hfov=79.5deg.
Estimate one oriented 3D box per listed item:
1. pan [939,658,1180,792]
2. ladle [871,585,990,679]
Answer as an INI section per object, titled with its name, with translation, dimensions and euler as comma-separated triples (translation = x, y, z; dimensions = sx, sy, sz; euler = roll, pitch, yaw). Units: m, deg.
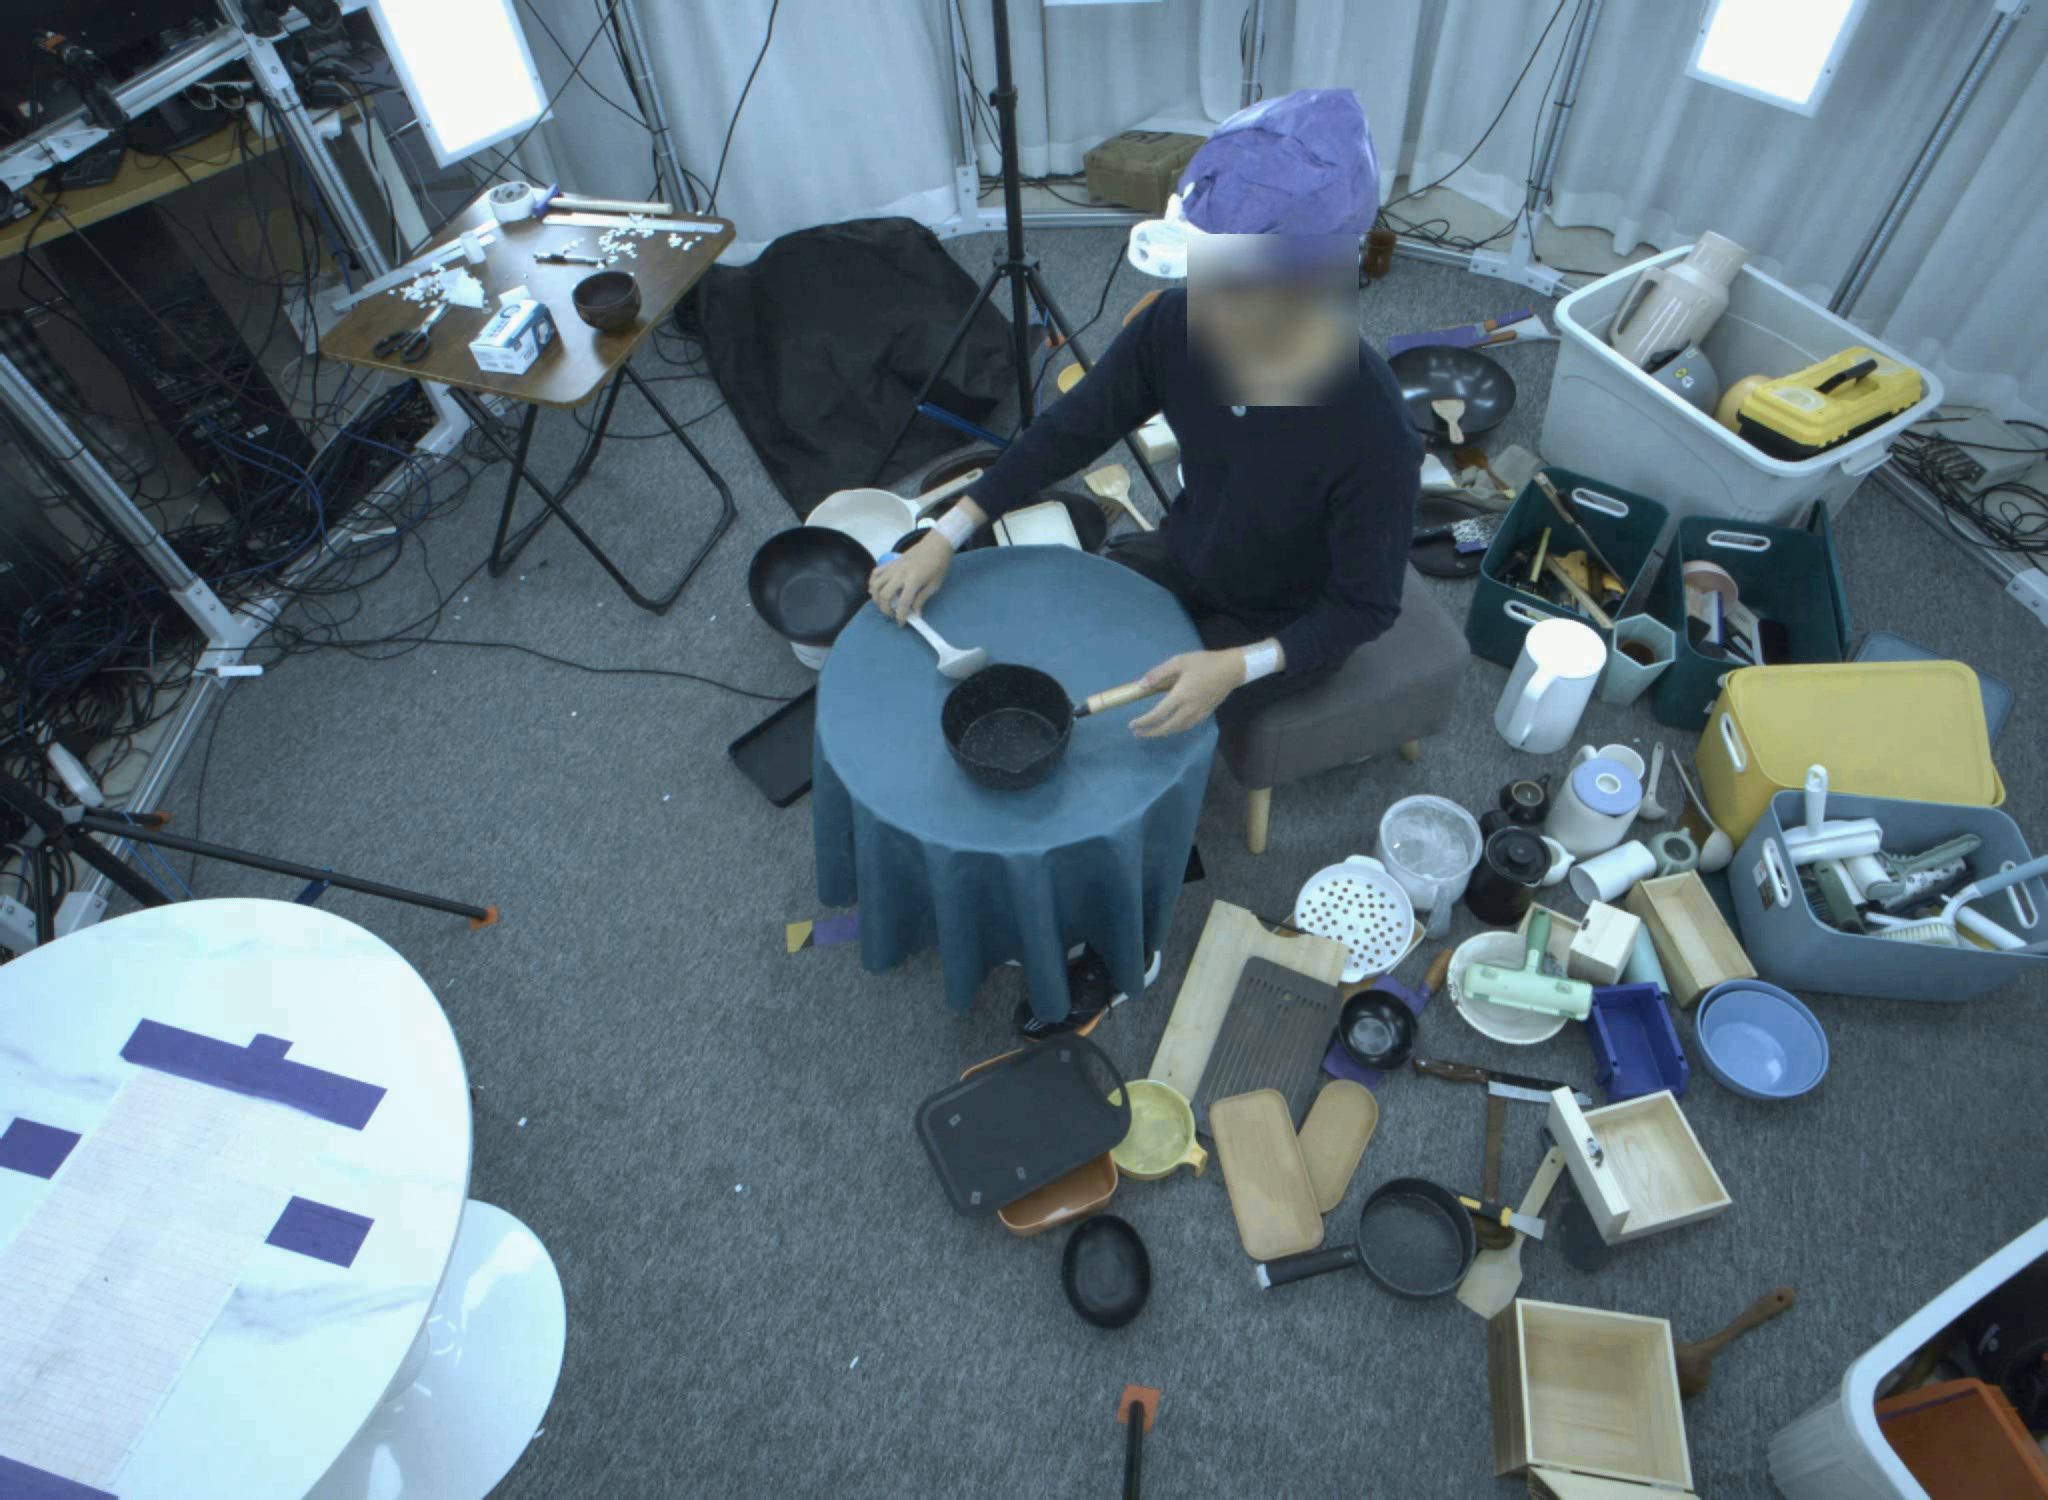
[pan]
translation = 0.054, -0.048, 1.752
dimensions = 0.344, 0.109, 0.204
euler = -12, 54, -4
[ladle]
translation = -0.158, -0.204, 1.896
dimensions = 0.090, 0.070, 0.269
euler = -31, 59, -26
